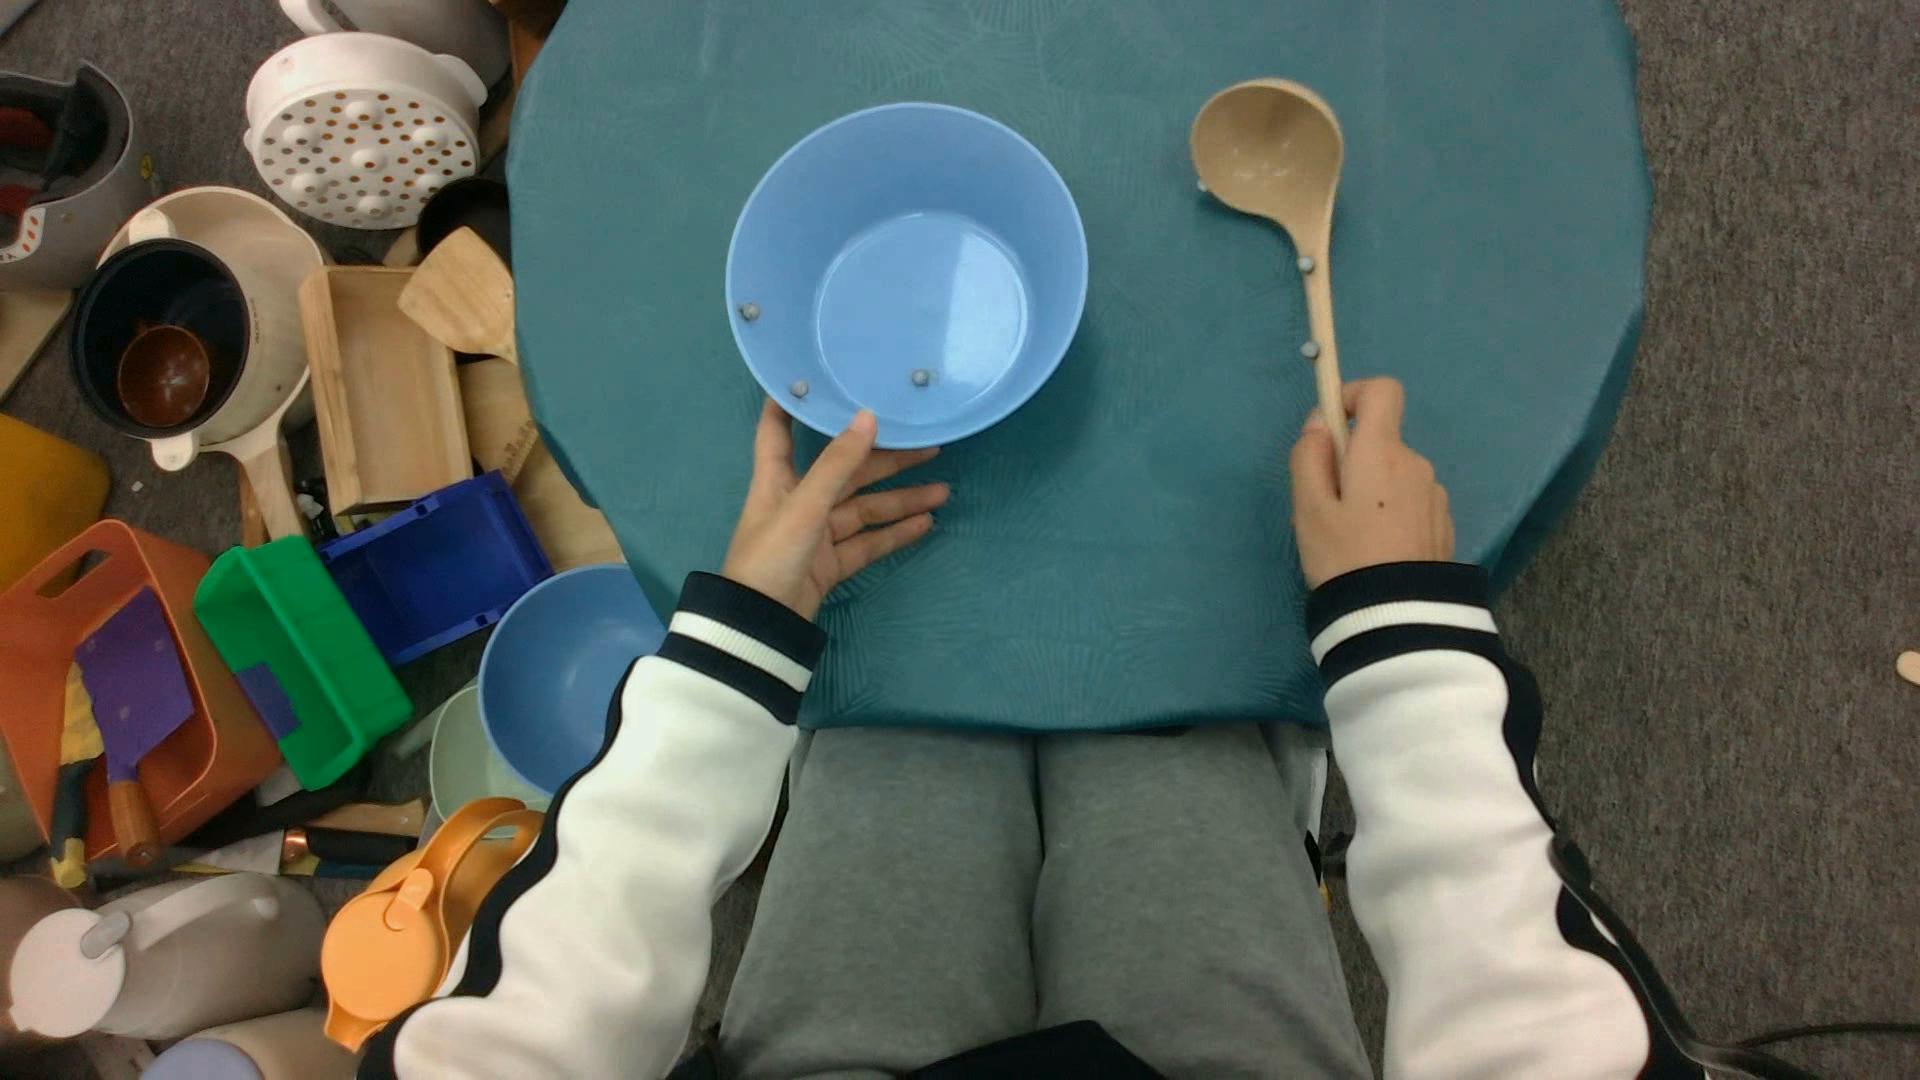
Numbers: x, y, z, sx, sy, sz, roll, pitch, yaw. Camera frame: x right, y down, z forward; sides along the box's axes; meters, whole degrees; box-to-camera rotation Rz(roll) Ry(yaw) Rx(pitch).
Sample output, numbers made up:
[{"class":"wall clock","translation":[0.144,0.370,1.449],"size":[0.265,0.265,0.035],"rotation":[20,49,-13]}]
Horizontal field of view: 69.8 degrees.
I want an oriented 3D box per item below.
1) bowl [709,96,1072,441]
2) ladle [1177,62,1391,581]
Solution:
[{"class":"bowl","translation":[-0.031,-0.126,0.689],"size":[0.176,0.070,0.176],"rotation":[-1,78,6]},{"class":"ladle","translation":[0.153,-0.107,0.640],"size":[0.072,0.073,0.255],"rotation":[-22,63,36]}]
